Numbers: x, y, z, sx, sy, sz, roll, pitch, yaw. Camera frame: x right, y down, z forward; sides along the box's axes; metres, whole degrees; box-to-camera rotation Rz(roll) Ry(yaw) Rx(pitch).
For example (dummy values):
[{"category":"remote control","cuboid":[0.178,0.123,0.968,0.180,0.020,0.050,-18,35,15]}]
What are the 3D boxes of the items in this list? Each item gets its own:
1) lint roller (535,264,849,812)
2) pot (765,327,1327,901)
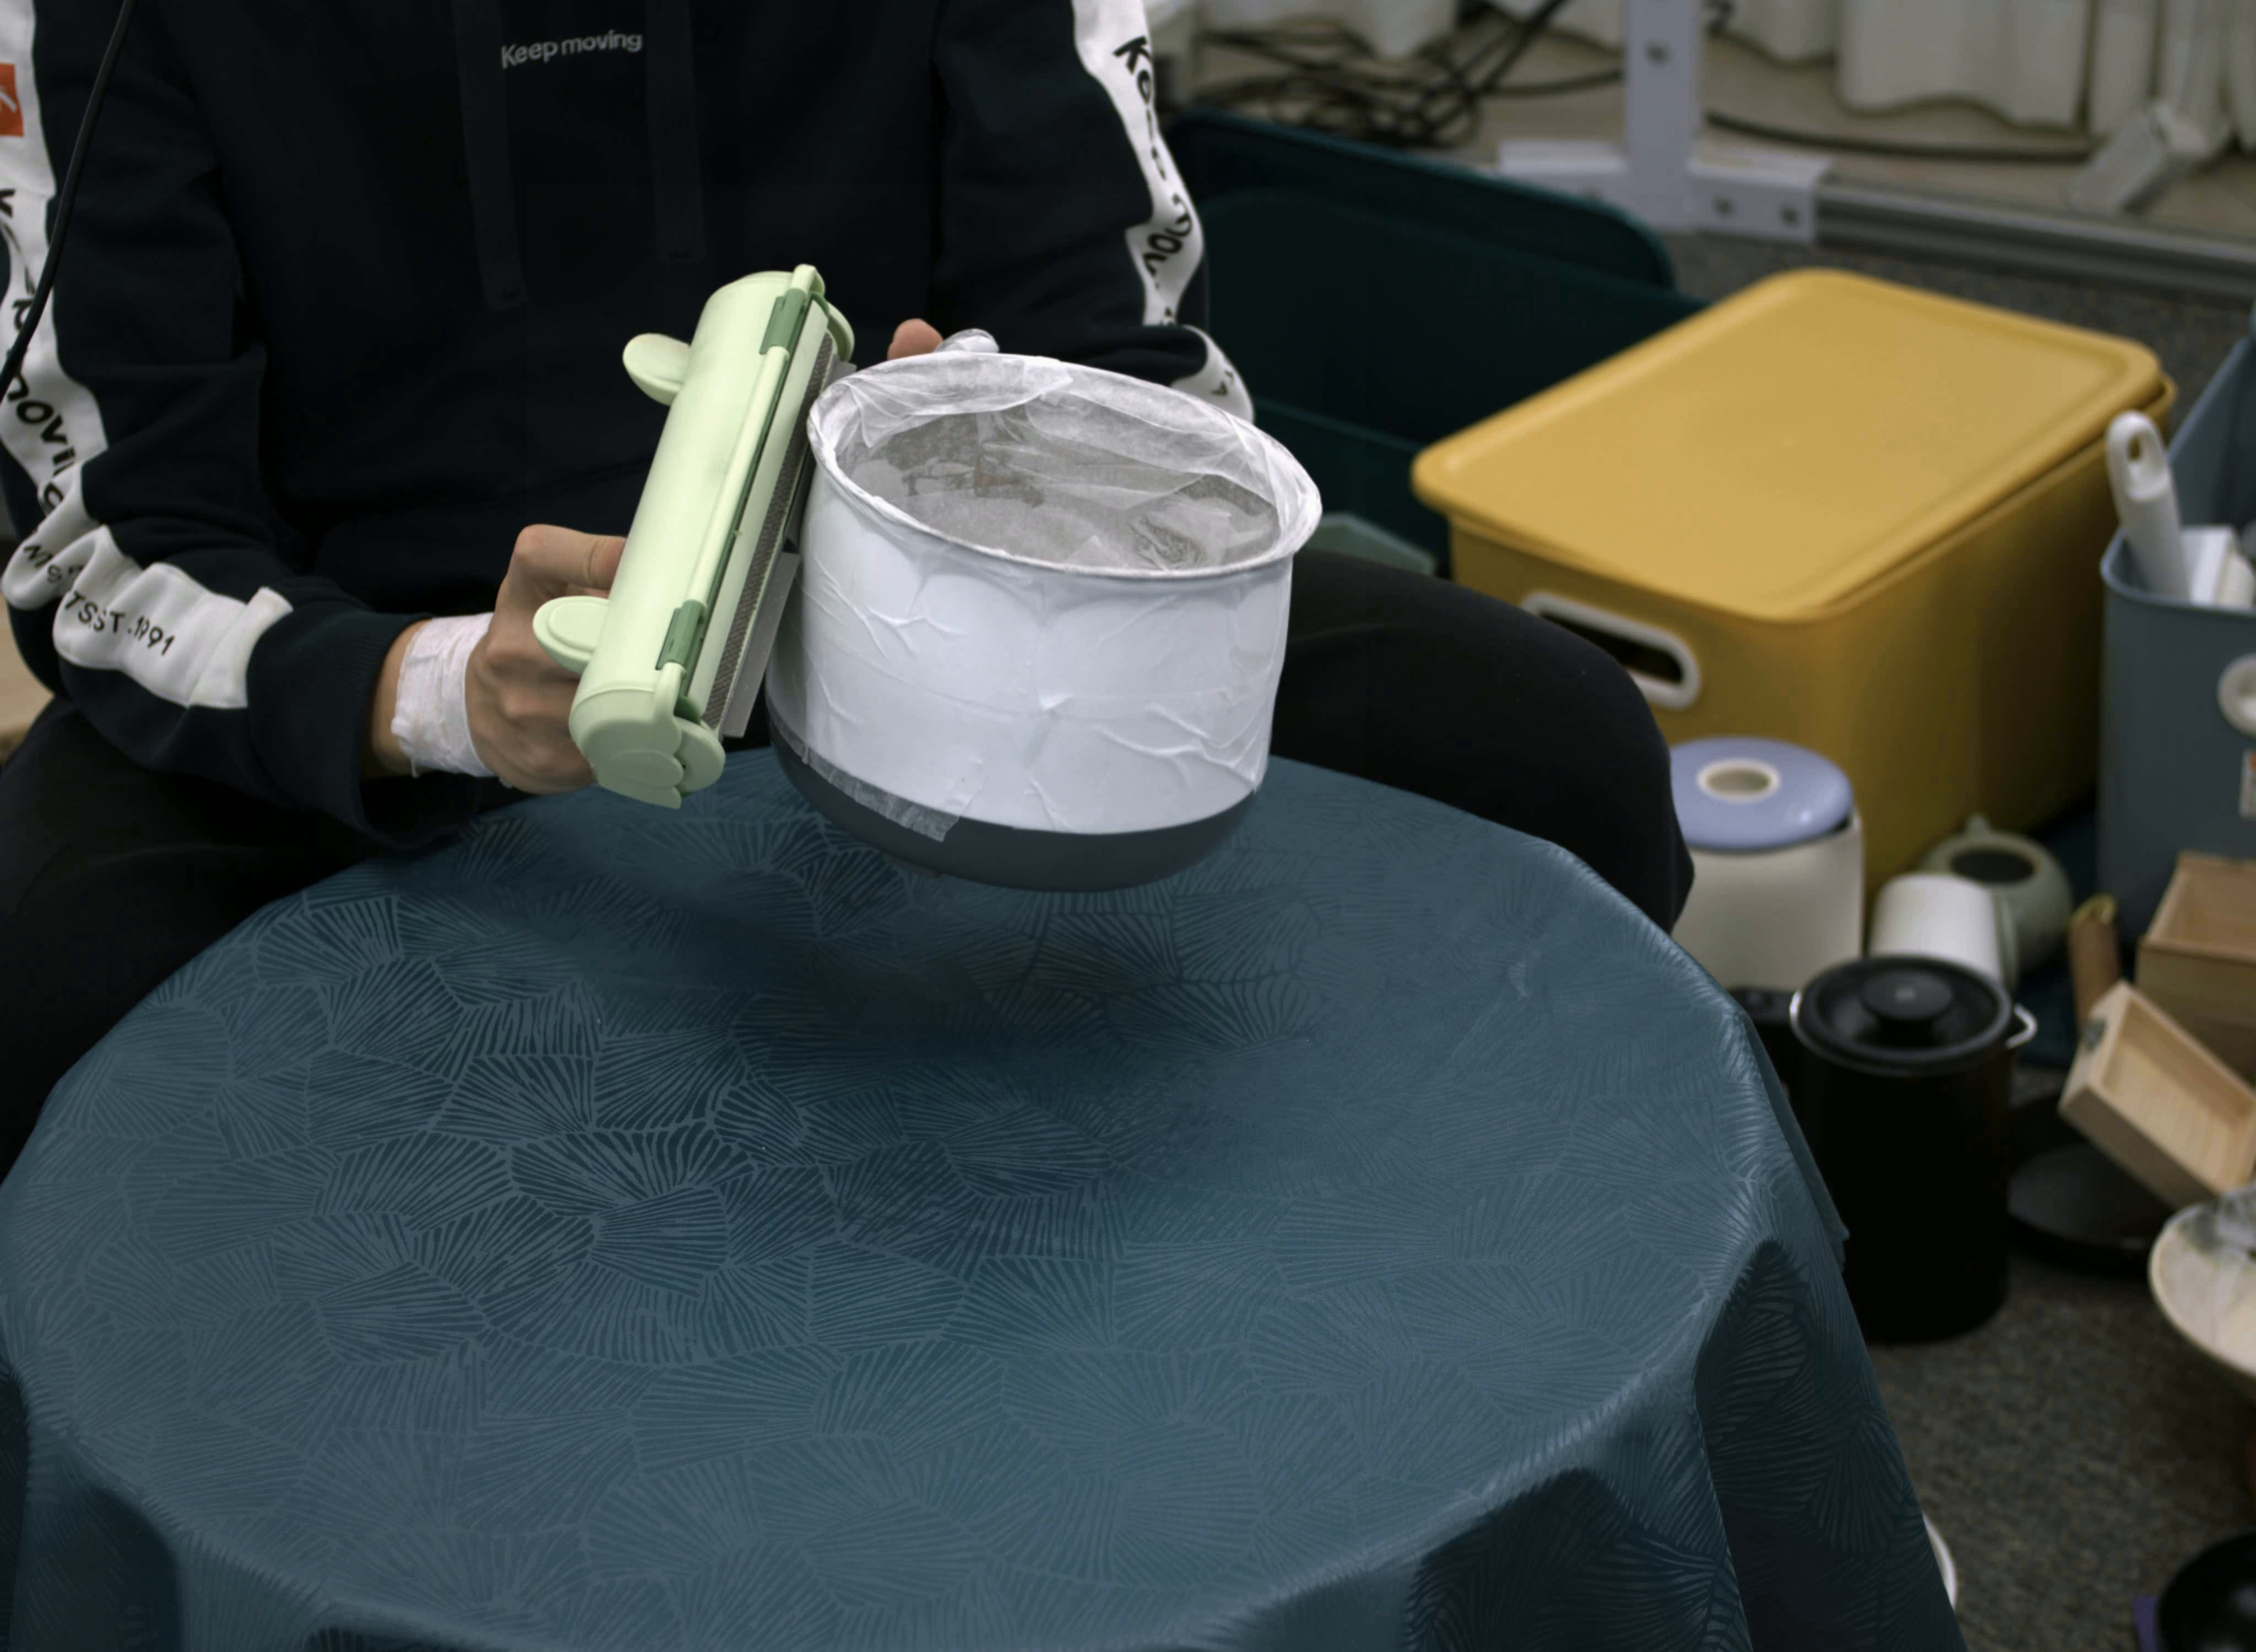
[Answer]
[{"category":"lint roller","cuboid":[-0.174,-0.081,1.936,0.082,0.180,0.203,30,52,-21]},{"category":"pot","cuboid":[-0.041,-0.080,1.949,0.179,0.135,0.236,1,28,-23]}]
